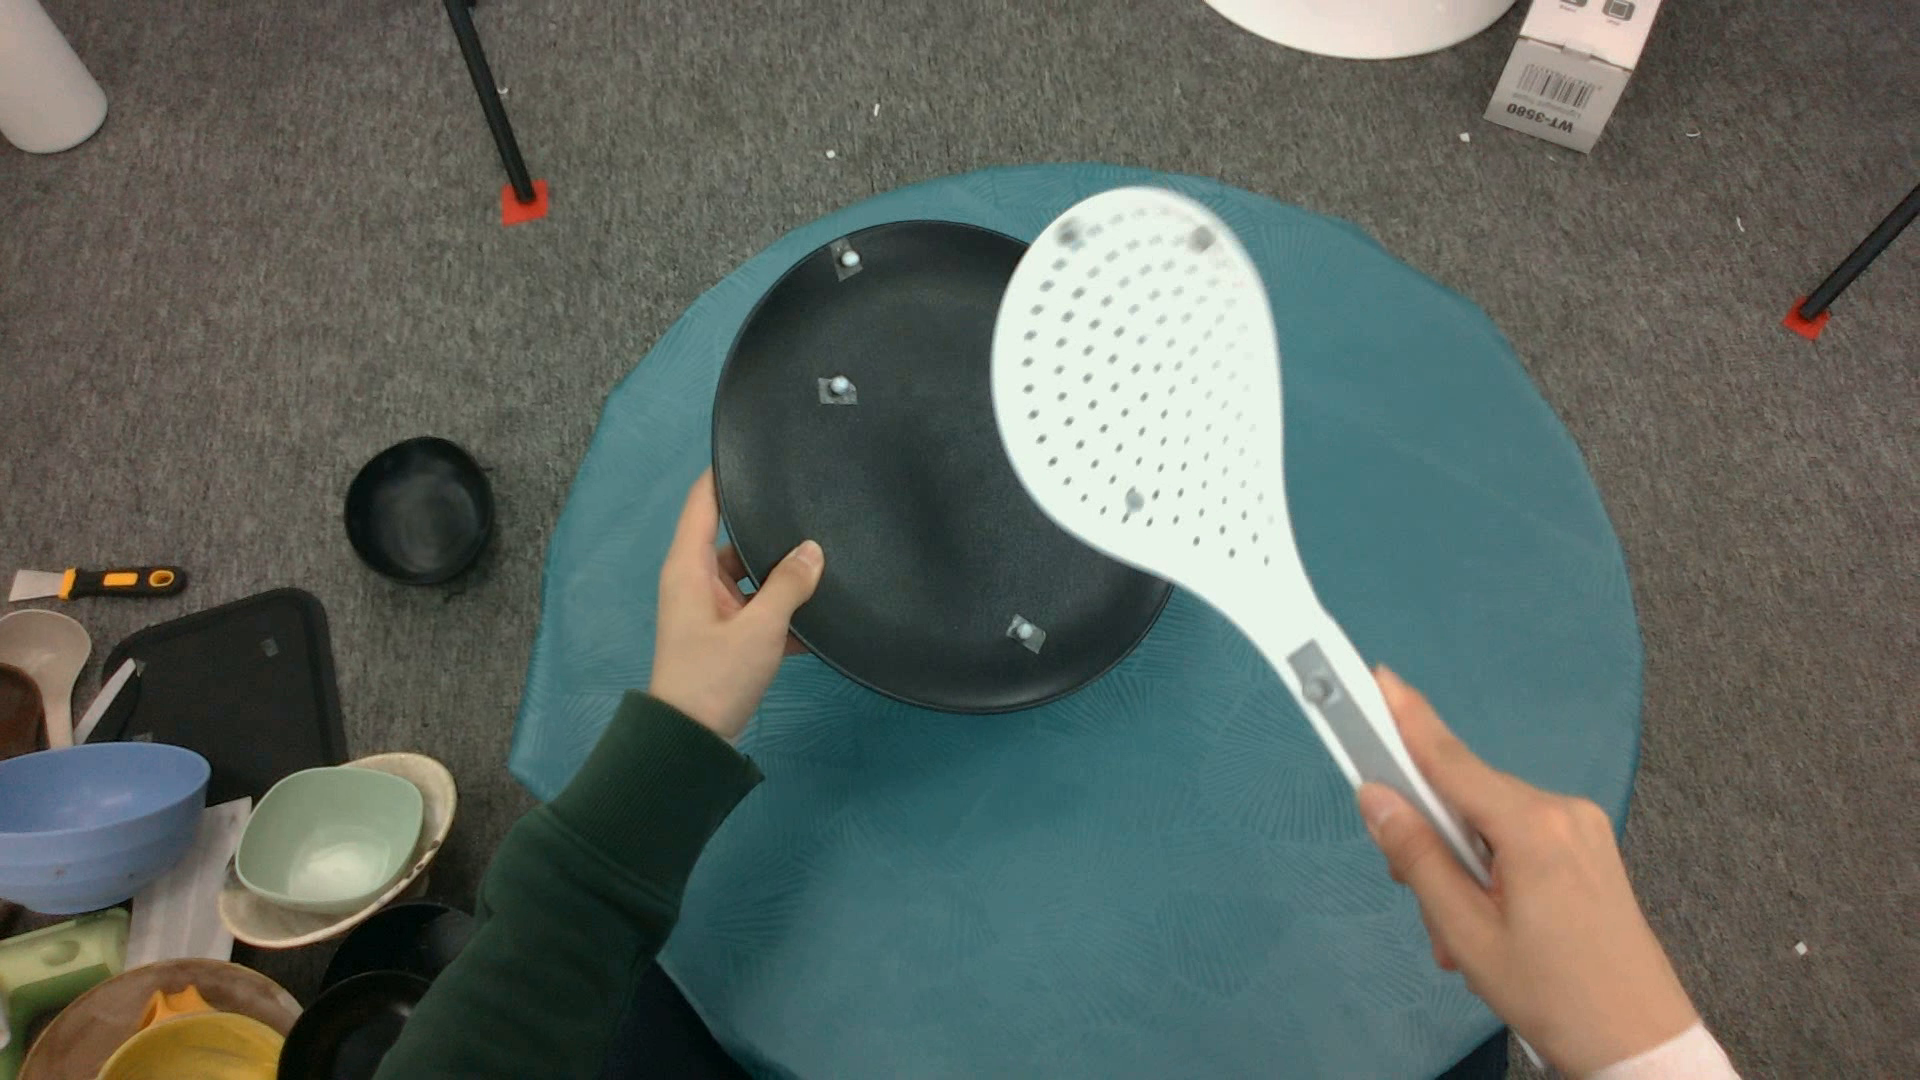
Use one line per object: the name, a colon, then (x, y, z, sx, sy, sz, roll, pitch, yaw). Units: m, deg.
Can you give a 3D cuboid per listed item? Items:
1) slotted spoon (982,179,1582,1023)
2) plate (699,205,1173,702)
slotted spoon: (0.117, 0.017, 0.517, 0.046, 0.135, 0.350, -10, 65, -41)
plate: (-0.005, -0.044, 0.658, 0.245, 0.023, 0.245, 6, 74, -22)
